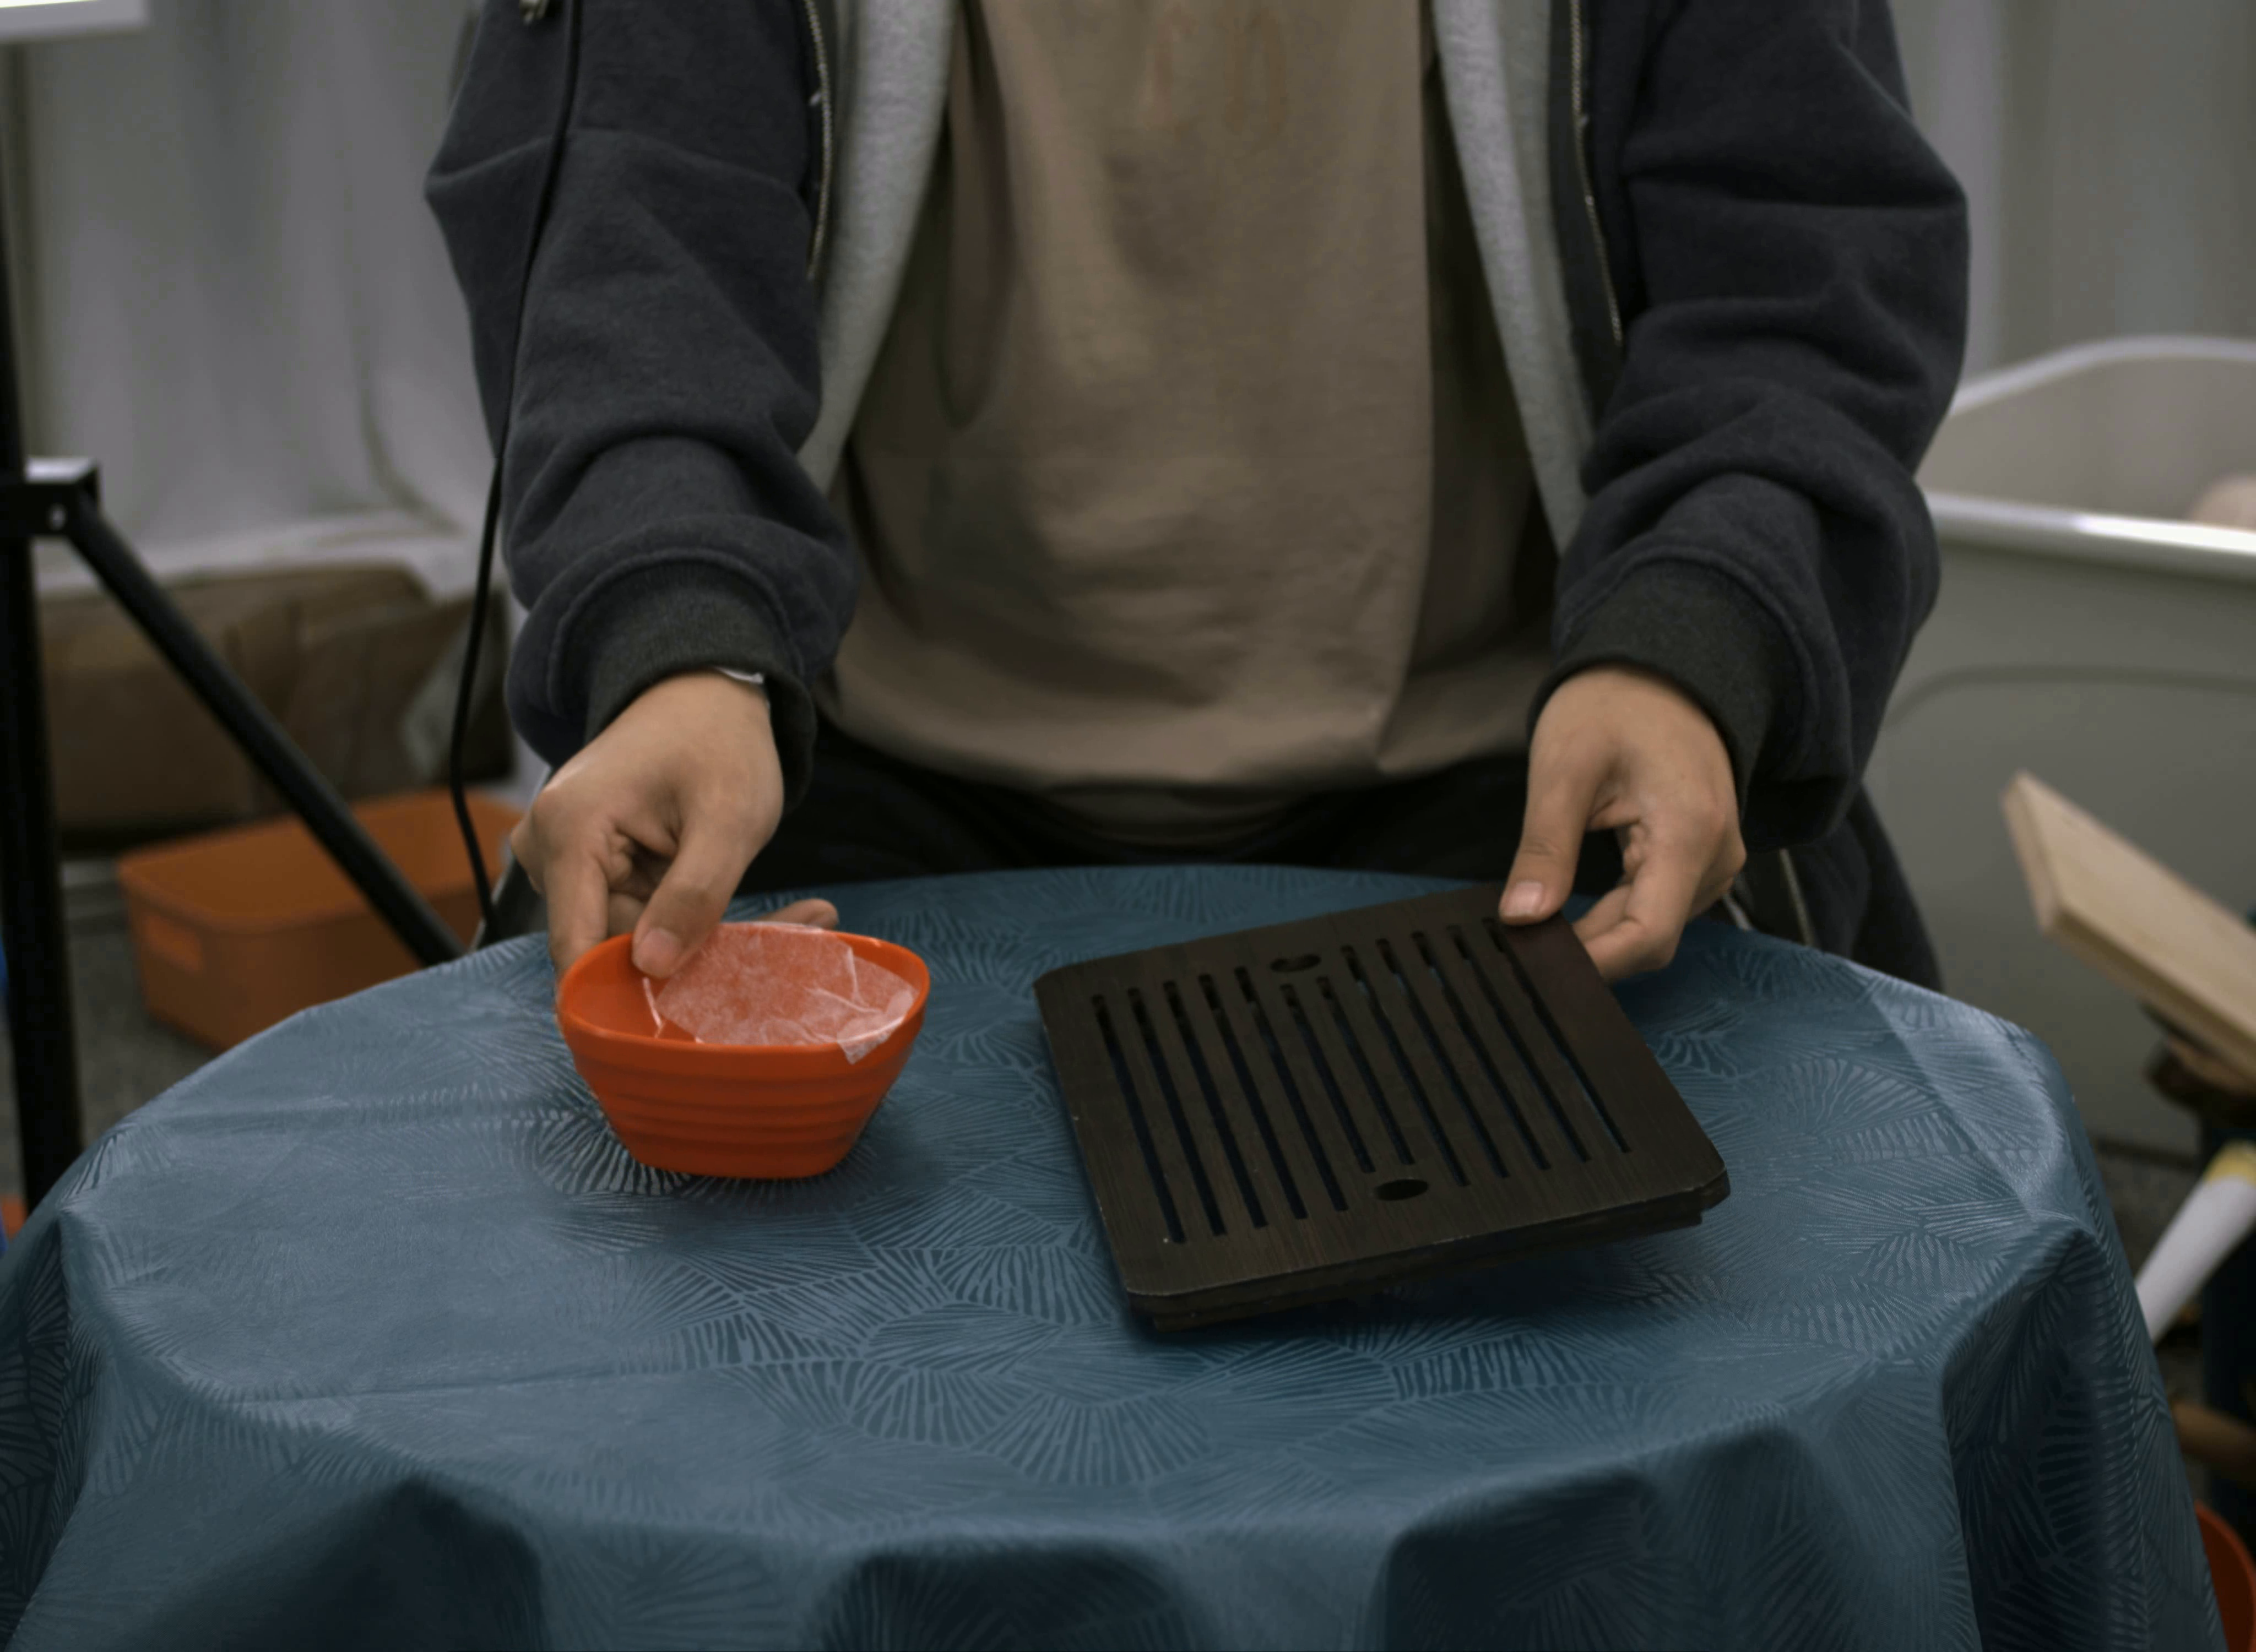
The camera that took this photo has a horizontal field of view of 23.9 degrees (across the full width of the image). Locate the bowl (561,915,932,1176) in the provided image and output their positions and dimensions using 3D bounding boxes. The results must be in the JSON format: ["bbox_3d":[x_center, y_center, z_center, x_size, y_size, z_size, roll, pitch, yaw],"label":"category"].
[{"bbox_3d":[-0.114,0.069,1.602,0.118,0.051,0.119,-1,19,-1],"label":"bowl"}]

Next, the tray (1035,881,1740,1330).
[{"bbox_3d":[0.069,0.079,1.581,0.169,0.018,0.308,-11,16,-3],"label":"tray"}]
